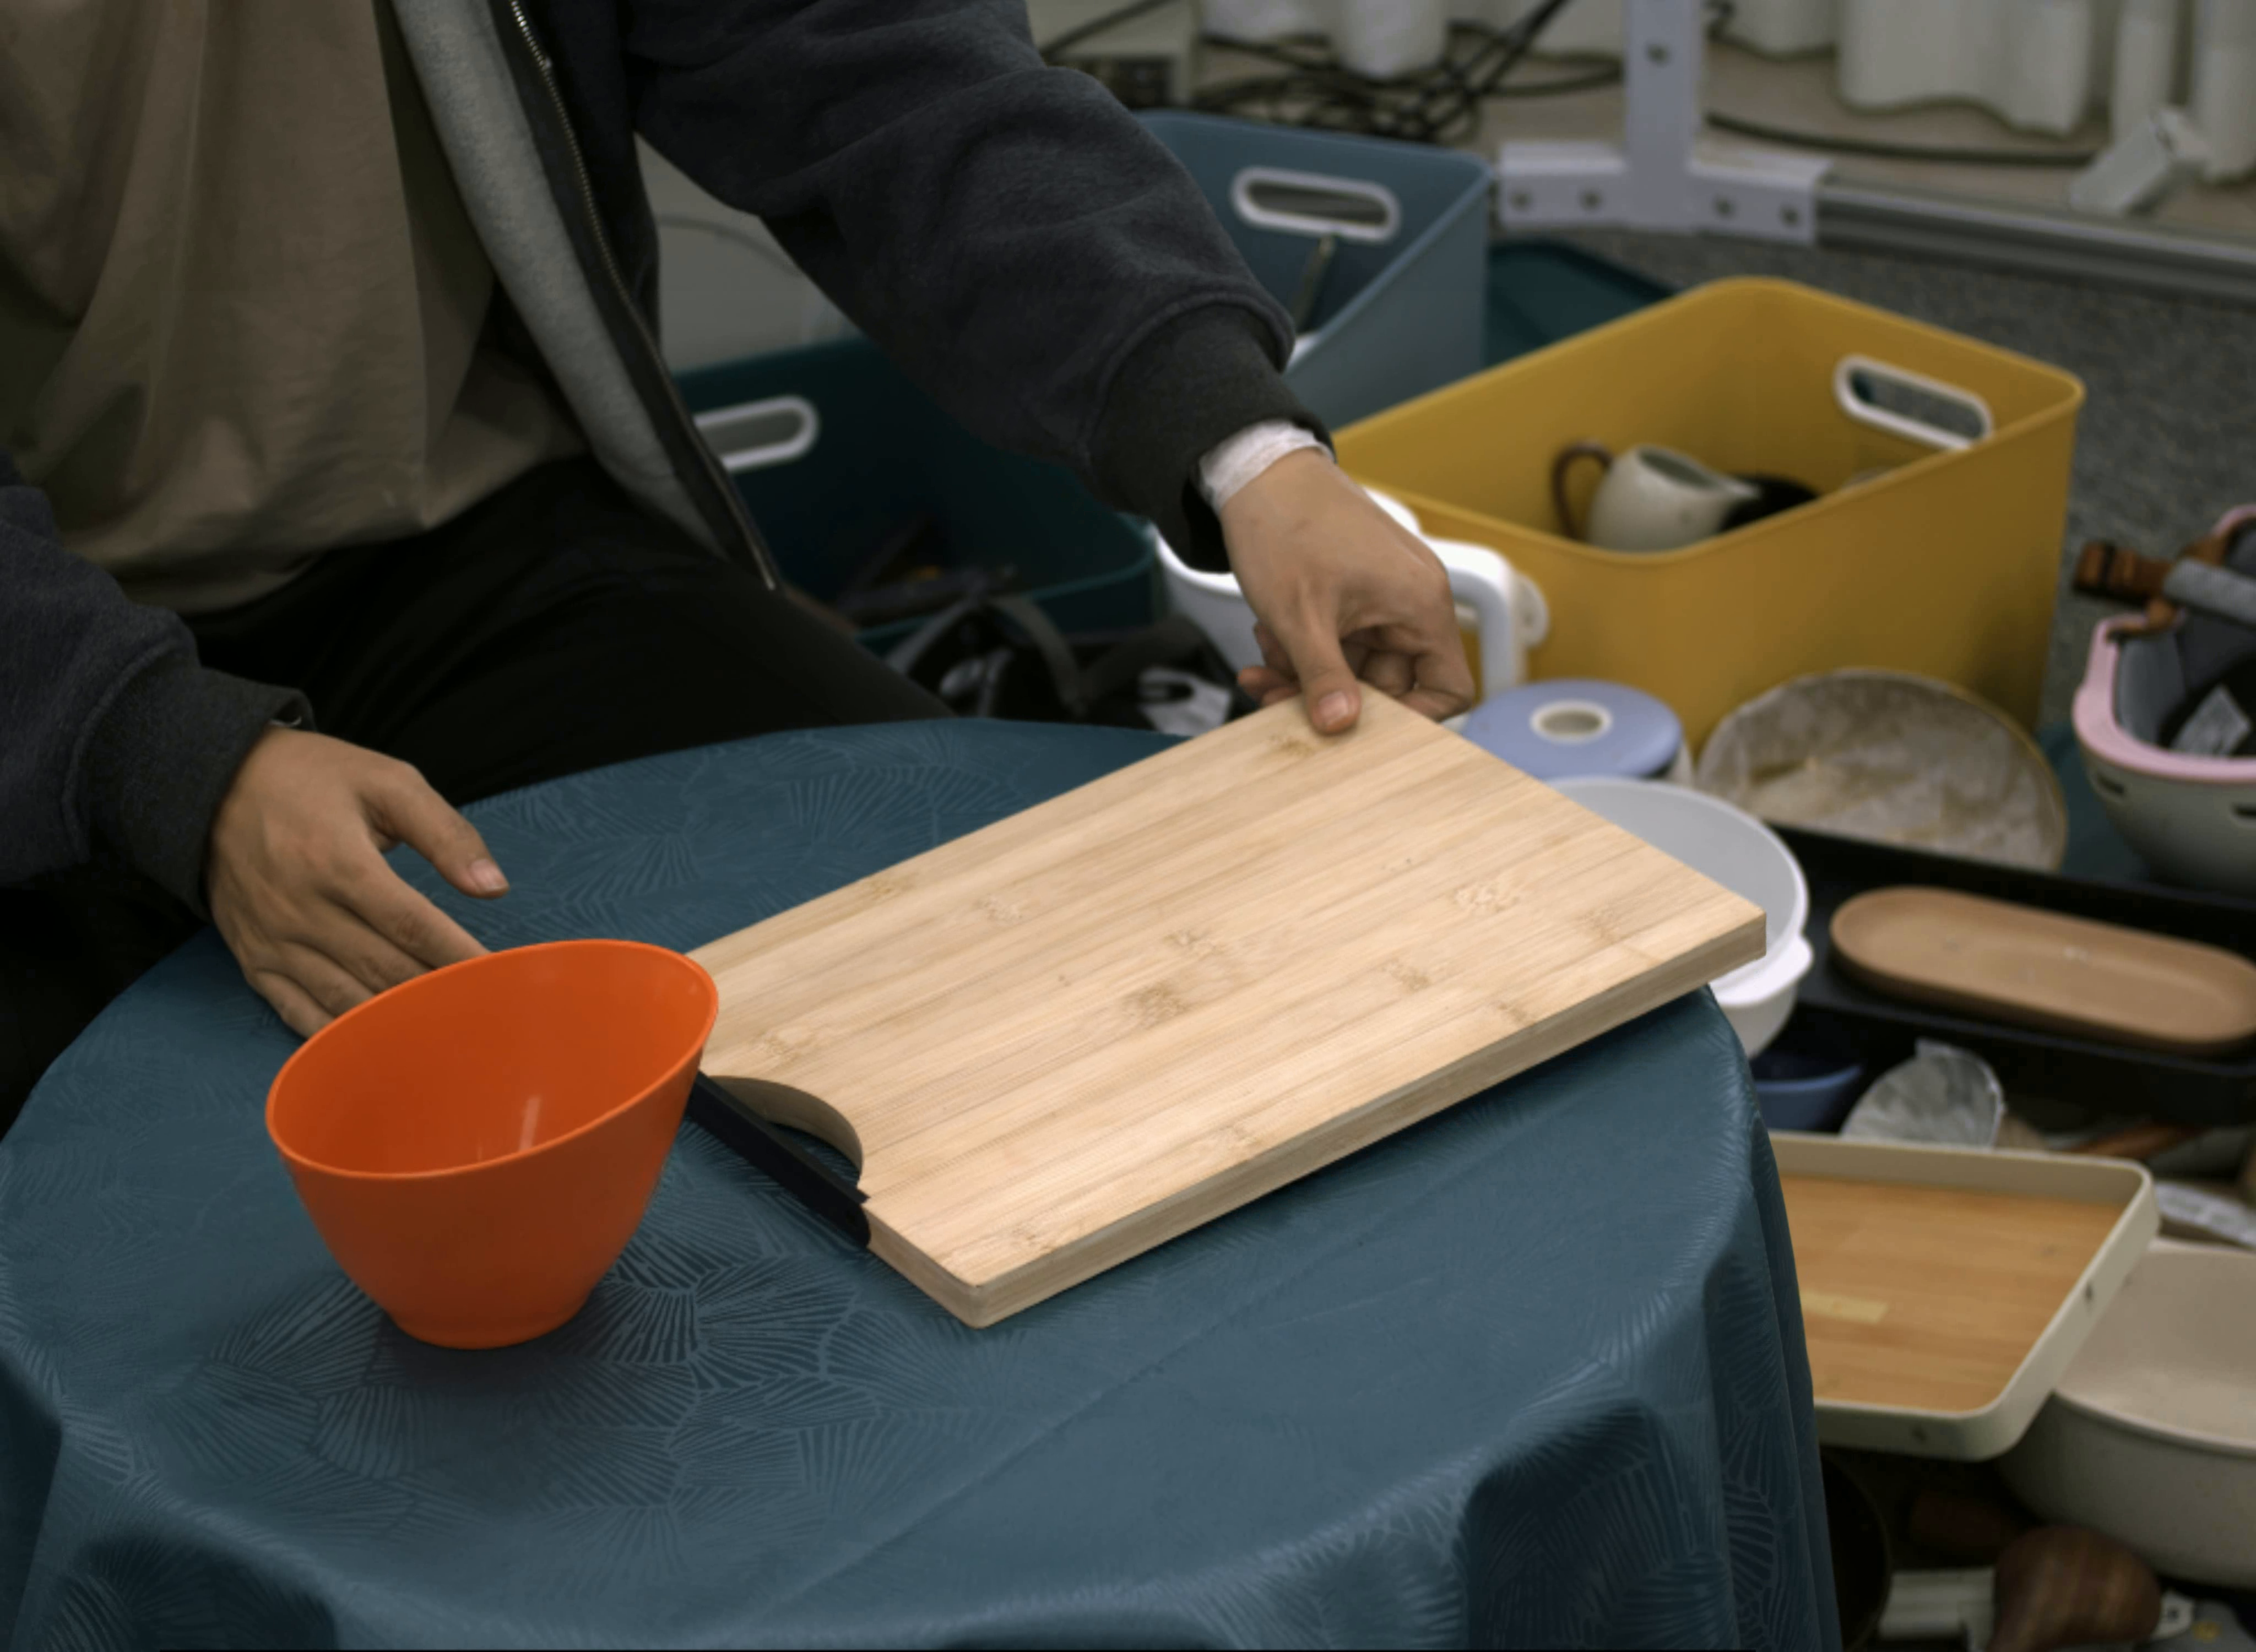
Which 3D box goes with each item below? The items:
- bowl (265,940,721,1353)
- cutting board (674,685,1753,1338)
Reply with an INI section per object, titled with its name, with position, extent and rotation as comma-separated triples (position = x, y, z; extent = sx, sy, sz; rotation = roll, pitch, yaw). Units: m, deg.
[bowl]
position = -0.199, 0.109, 1.797
extent = 0.147, 0.103, 0.150
rotation = -2, 28, 2
[cutting board]
position = 0.012, 0.056, 1.956
extent = 0.352, 0.023, 0.251
rotation = -23, 34, -30
